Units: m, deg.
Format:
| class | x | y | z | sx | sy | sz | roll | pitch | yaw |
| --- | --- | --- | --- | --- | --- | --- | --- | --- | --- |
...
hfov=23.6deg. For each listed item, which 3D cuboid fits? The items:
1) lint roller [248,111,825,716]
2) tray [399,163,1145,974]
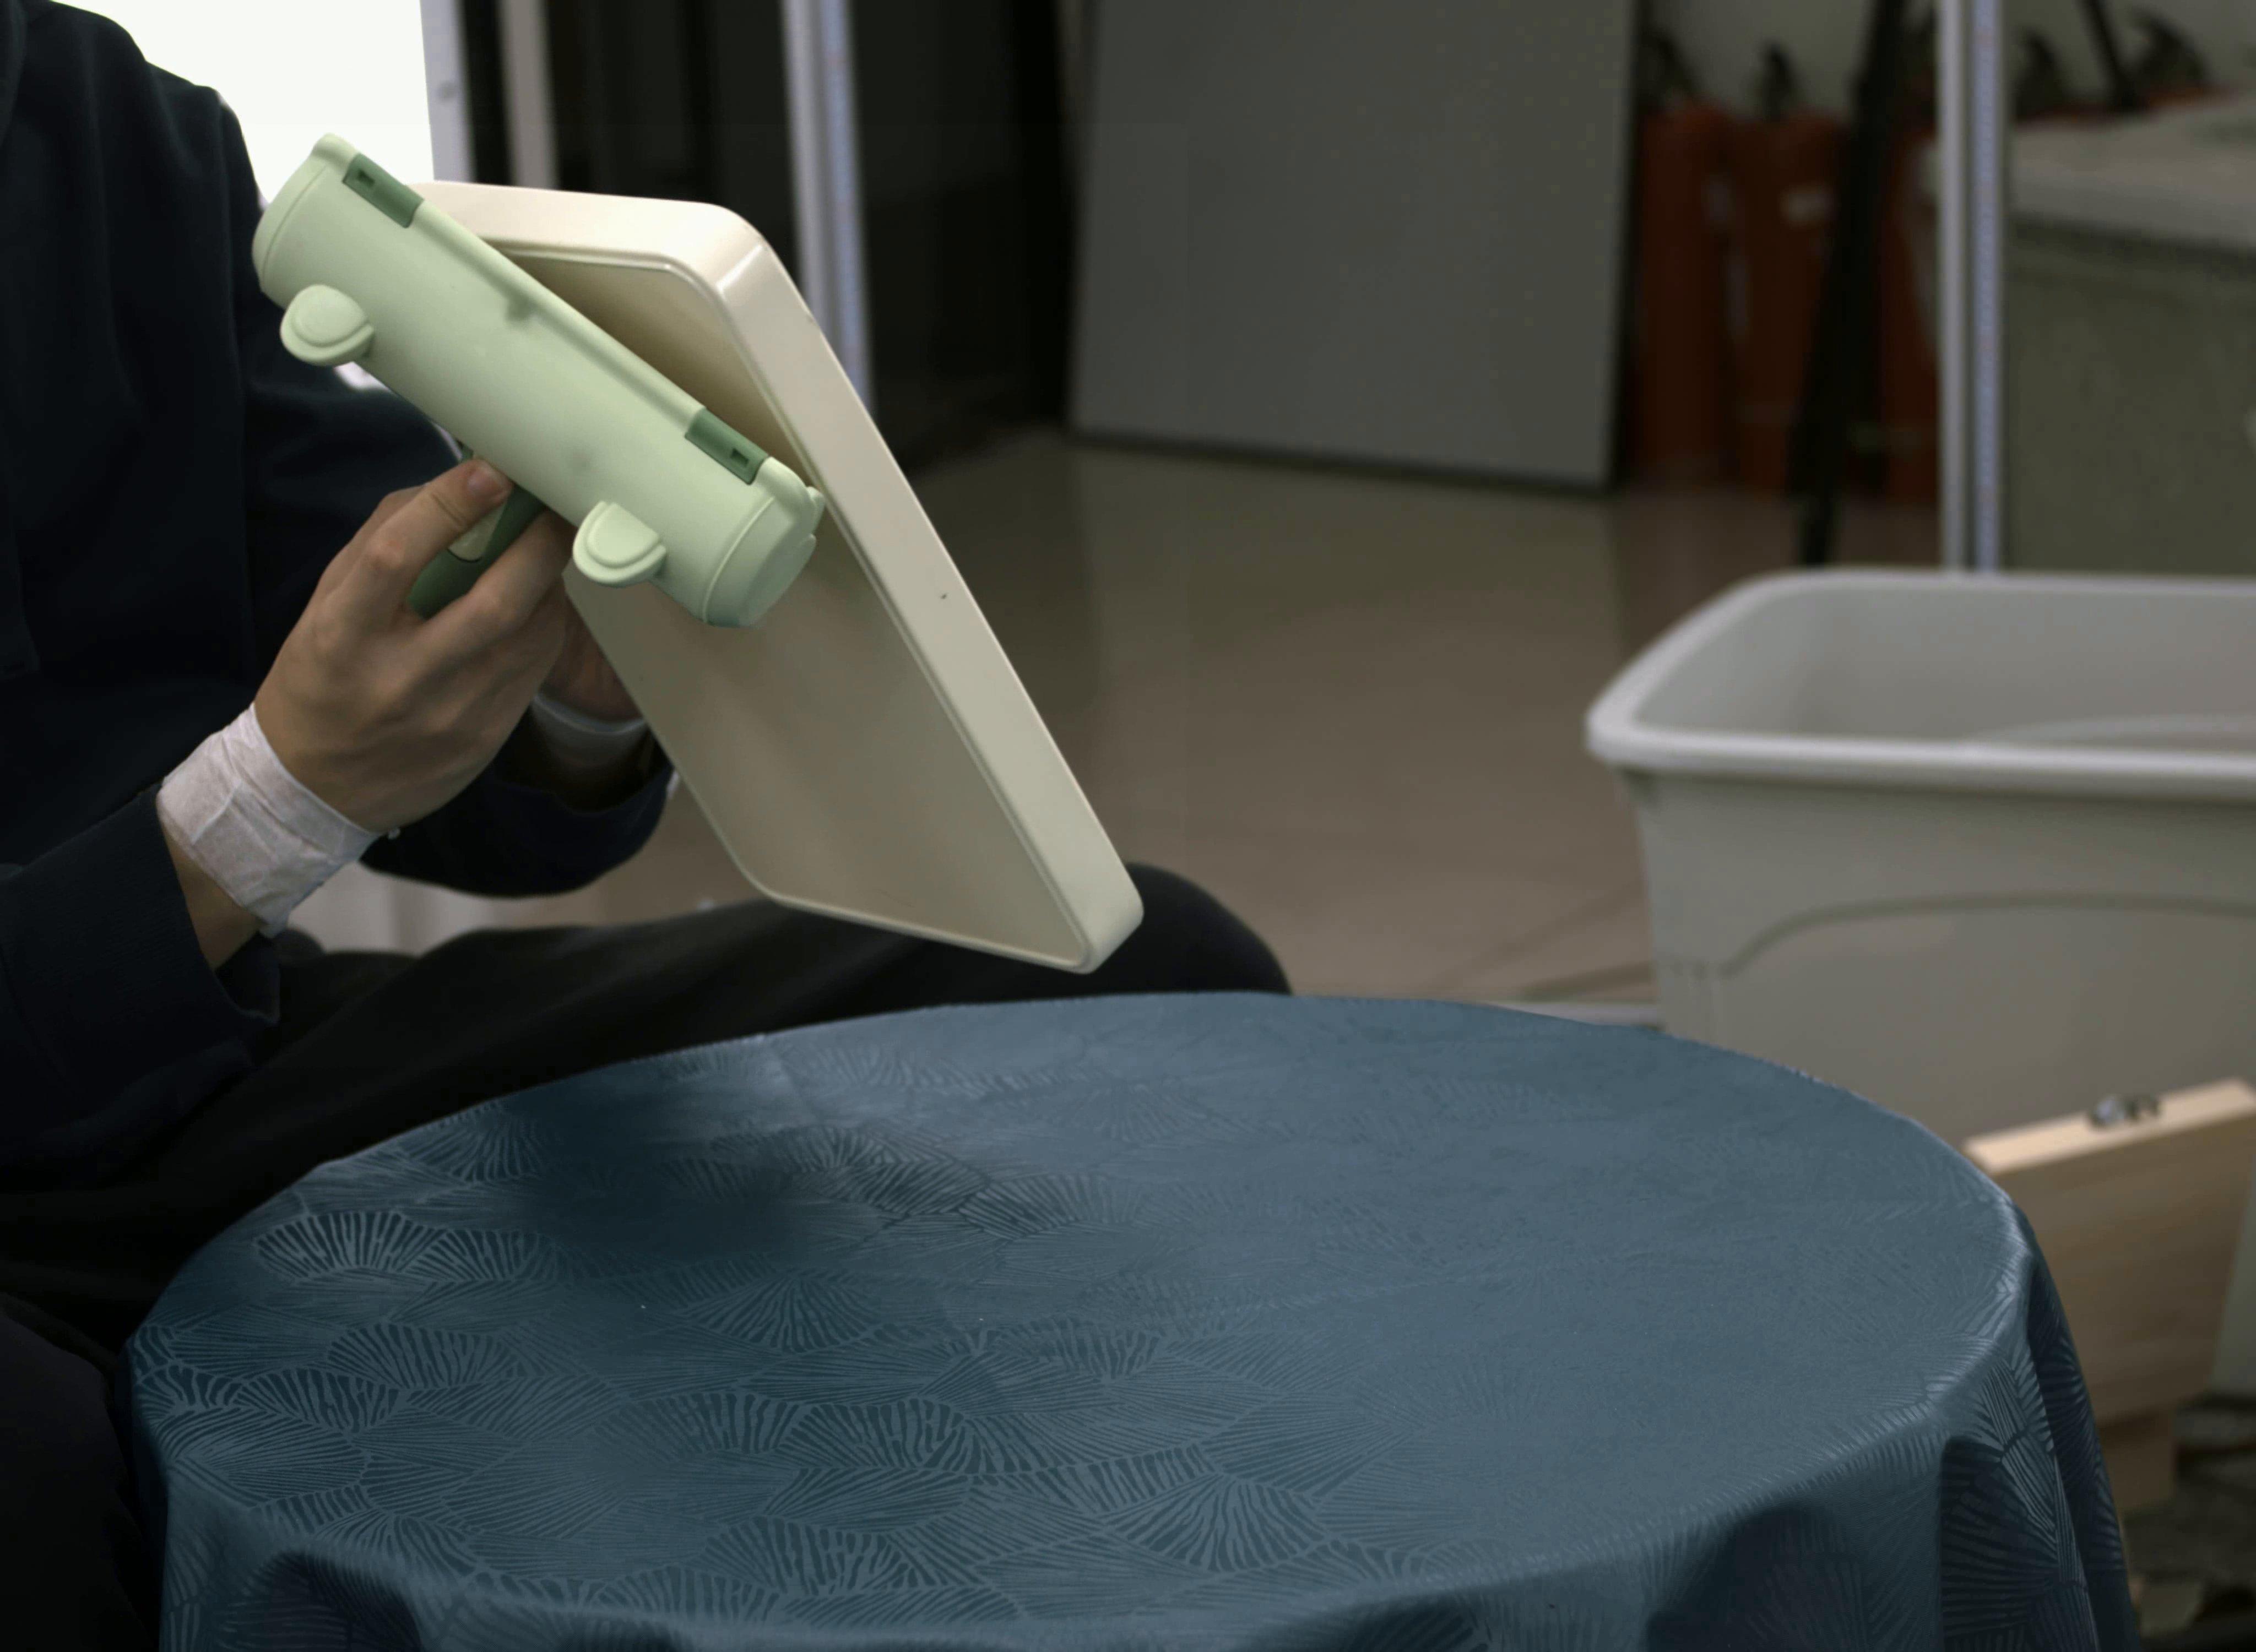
| class | x | y | z | sx | sy | sz | roll | pitch | yaw |
| --- | --- | --- | --- | --- | --- | --- | --- | --- | --- |
| lint roller | -0.205 | -0.095 | 1.676 | 0.199 | 0.185 | 0.081 | 37 | 34 | 12 |
| tray | -0.121 | -0.081 | 1.743 | 0.193 | 0.299 | 0.027 | 10 | 47 | 48 |
